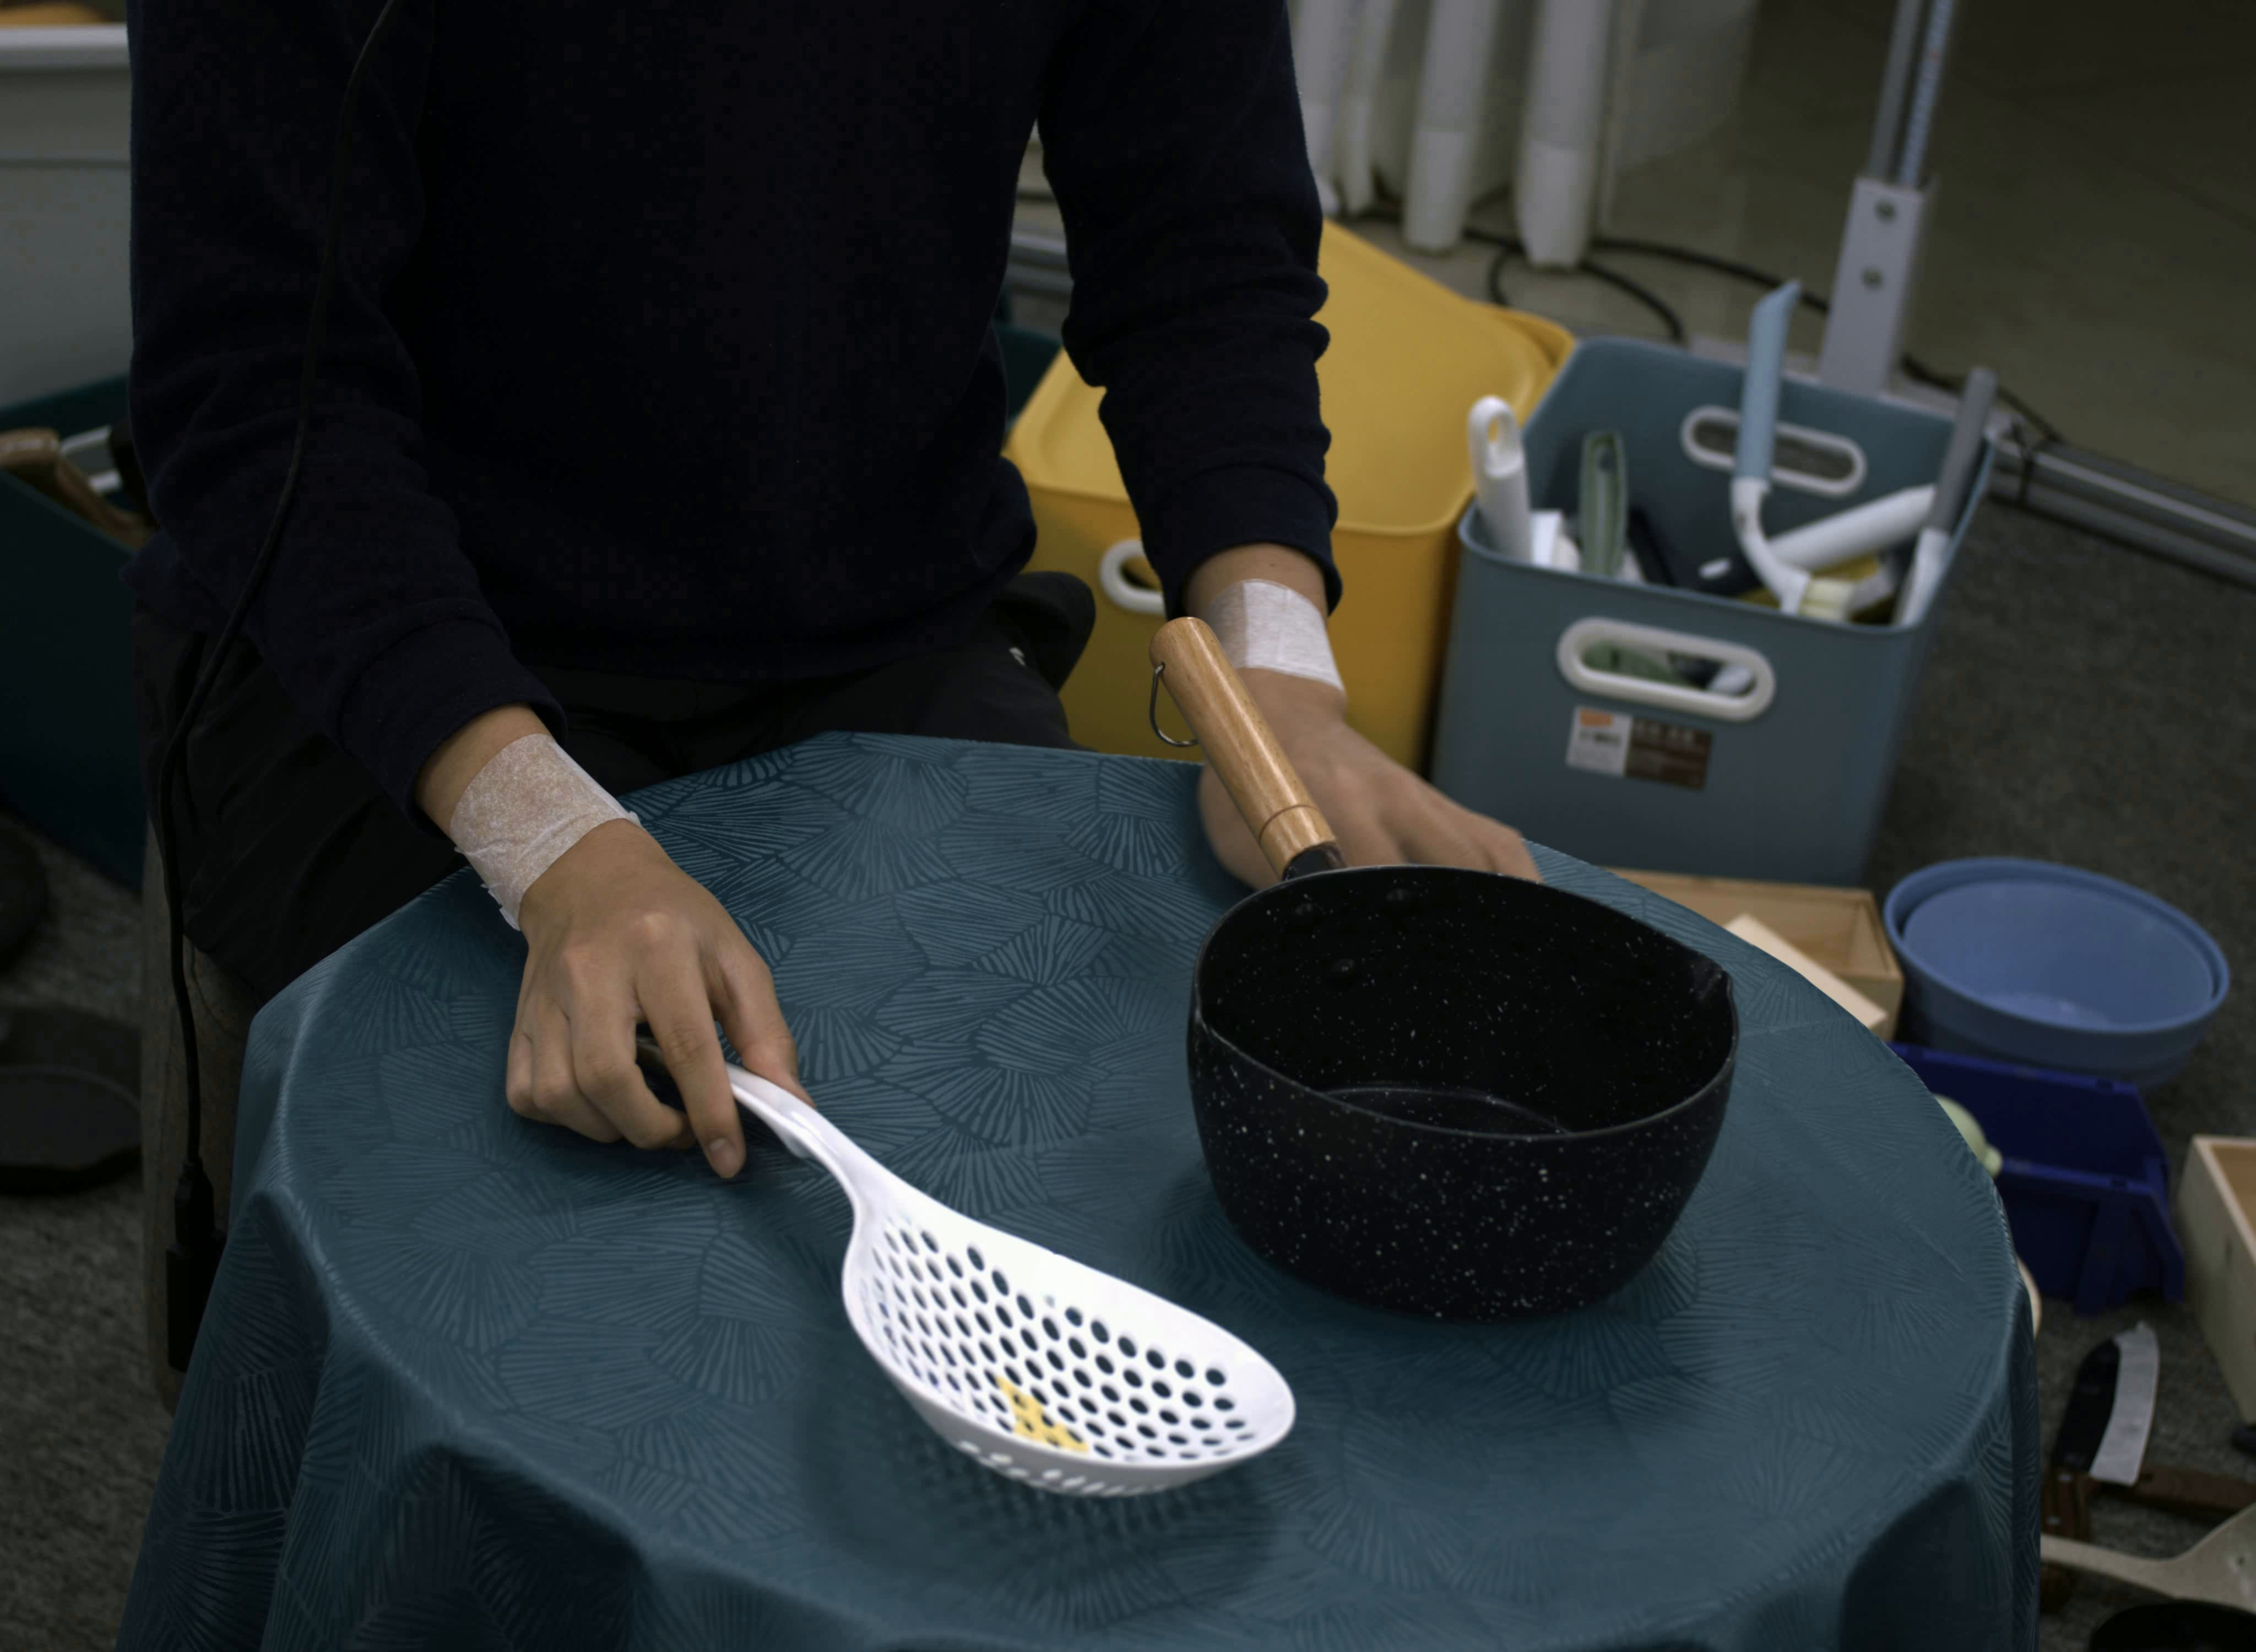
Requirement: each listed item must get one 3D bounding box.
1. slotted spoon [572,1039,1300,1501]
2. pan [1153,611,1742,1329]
[{"bbox_3d":[-0.080,0.132,1.720,0.136,0.050,0.351,-2,28,-37],"label":"slotted spoon"},{"bbox_3d":[0.078,0.047,1.852,0.206,0.108,0.346,-7,31,-23],"label":"pan"}]
